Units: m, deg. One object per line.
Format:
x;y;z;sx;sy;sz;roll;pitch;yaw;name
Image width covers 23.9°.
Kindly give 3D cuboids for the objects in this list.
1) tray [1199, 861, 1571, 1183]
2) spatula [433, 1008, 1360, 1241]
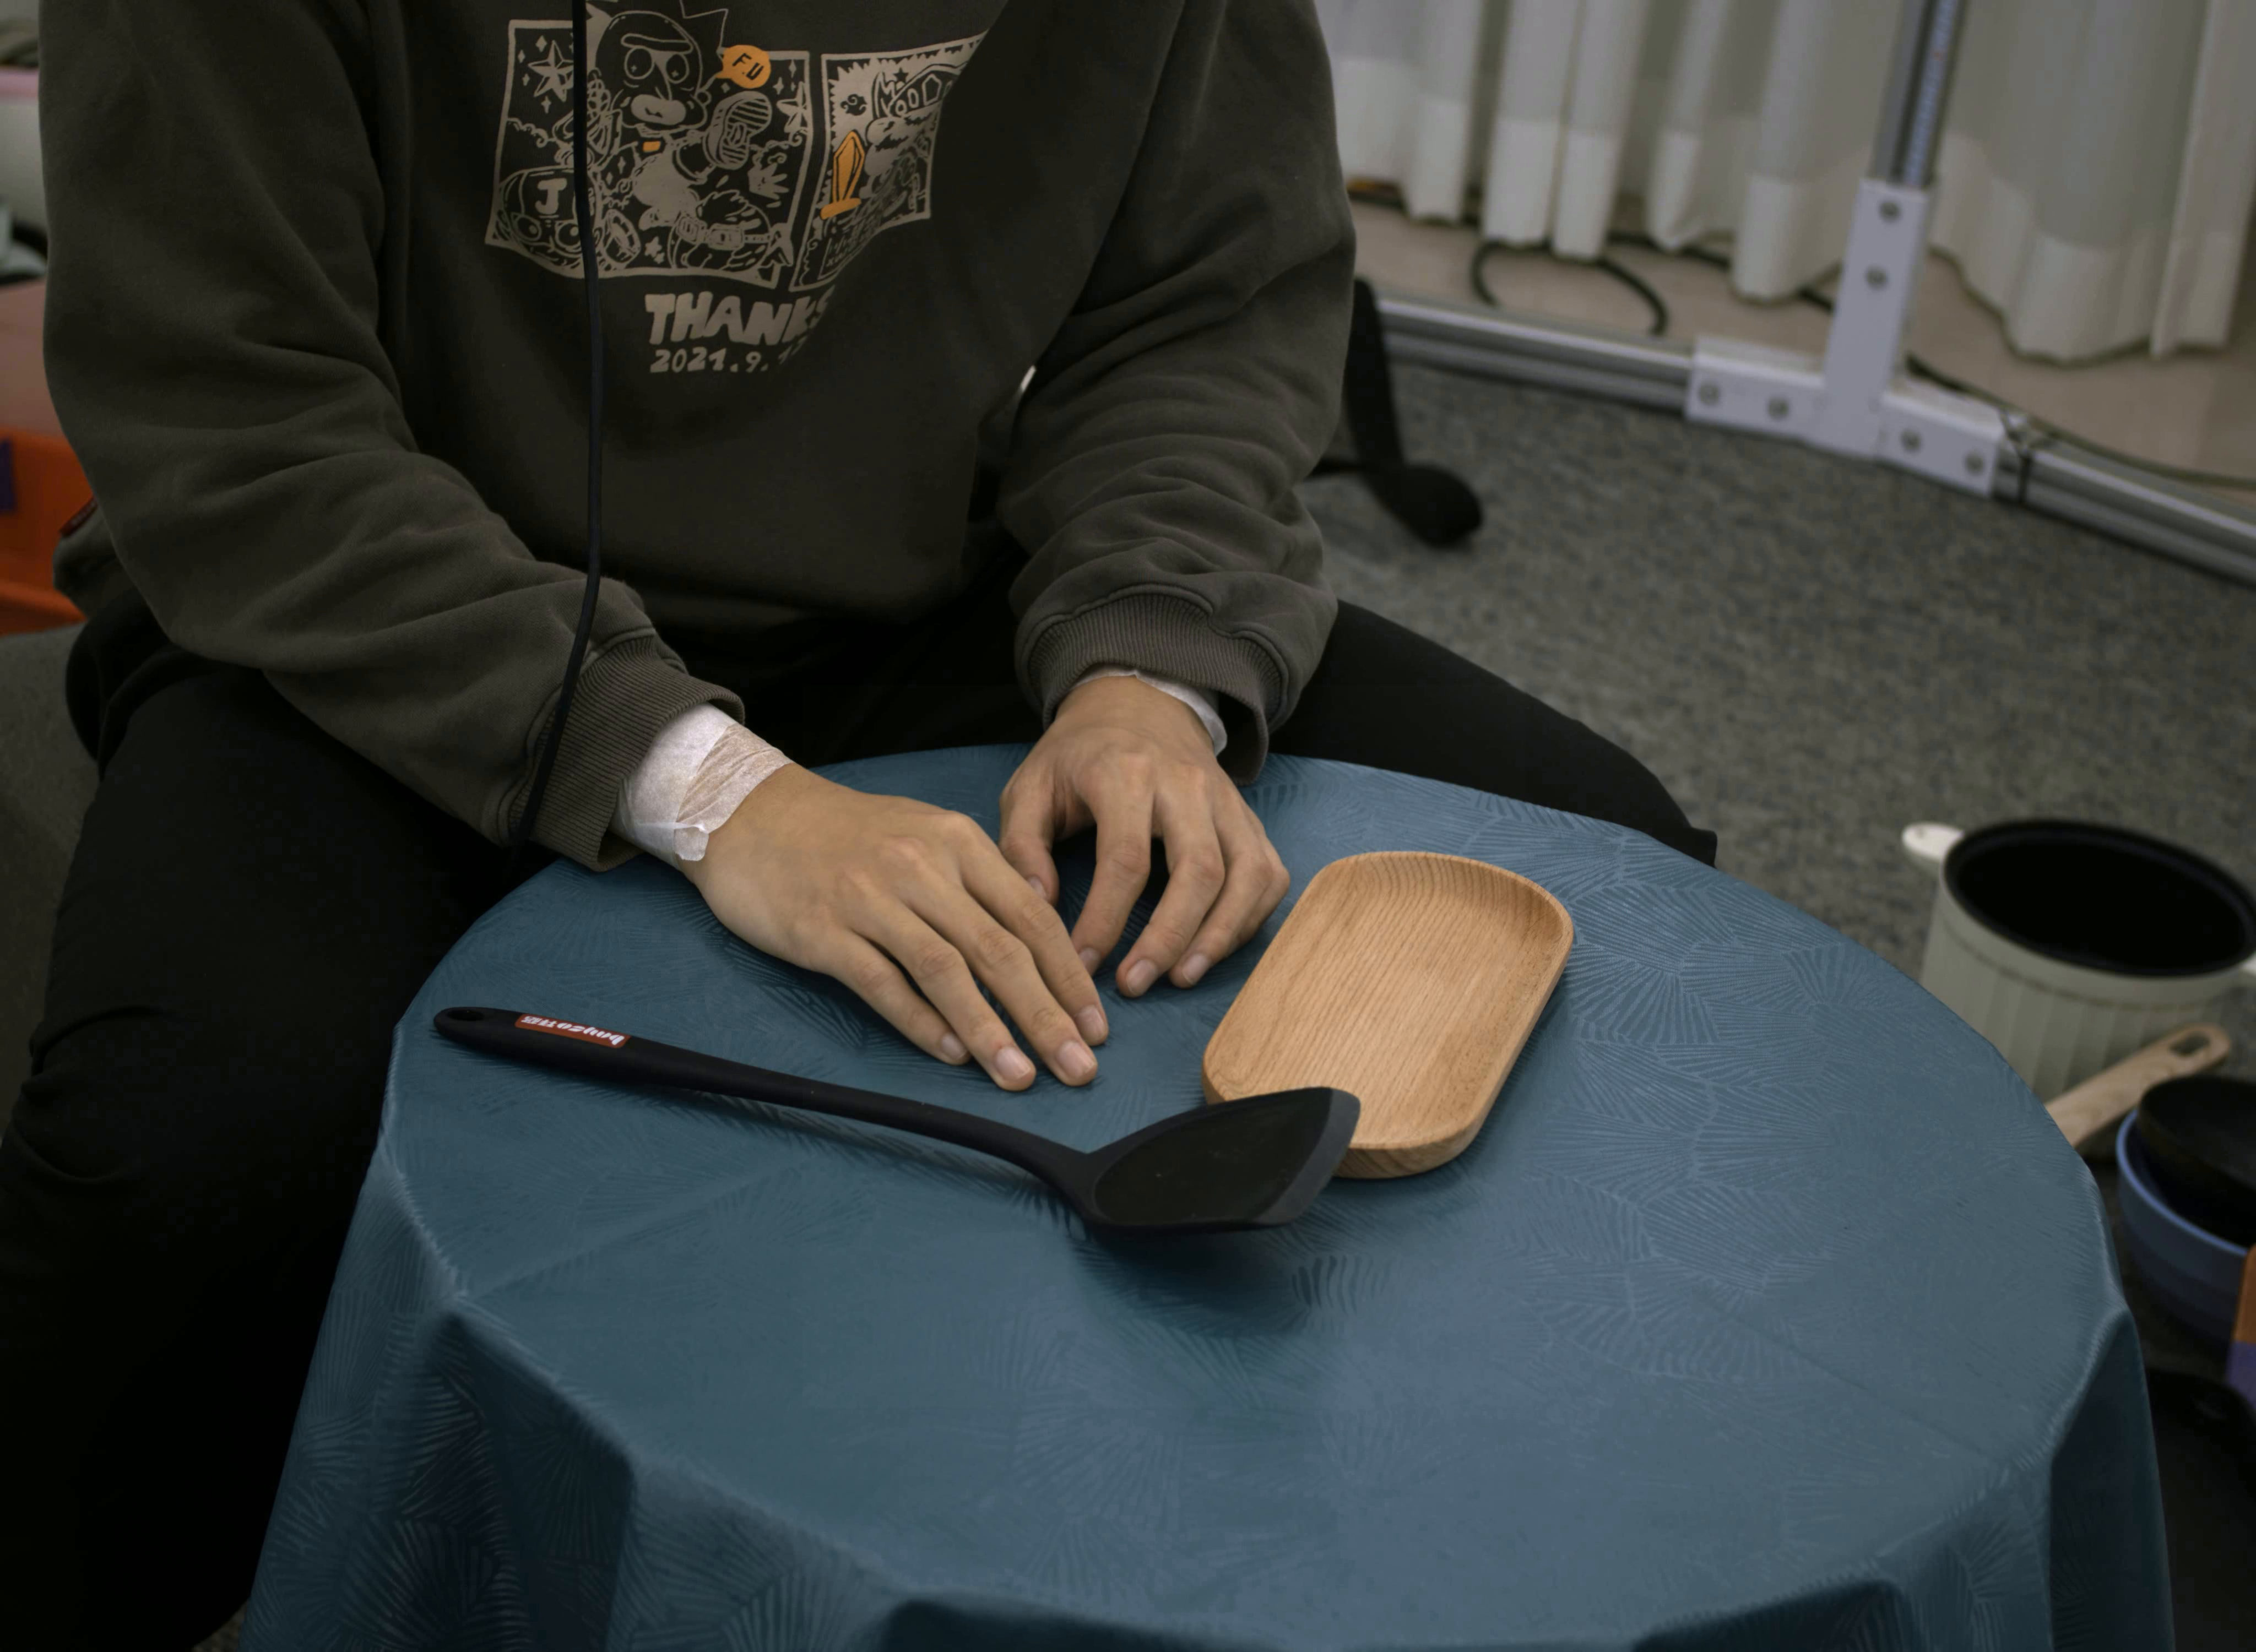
0.094;0.069;1.917;0.102;0.020;0.231;13;28;13;tray
-0.085;0.091;1.809;0.326;0.040;0.100;13;26;13;spatula
